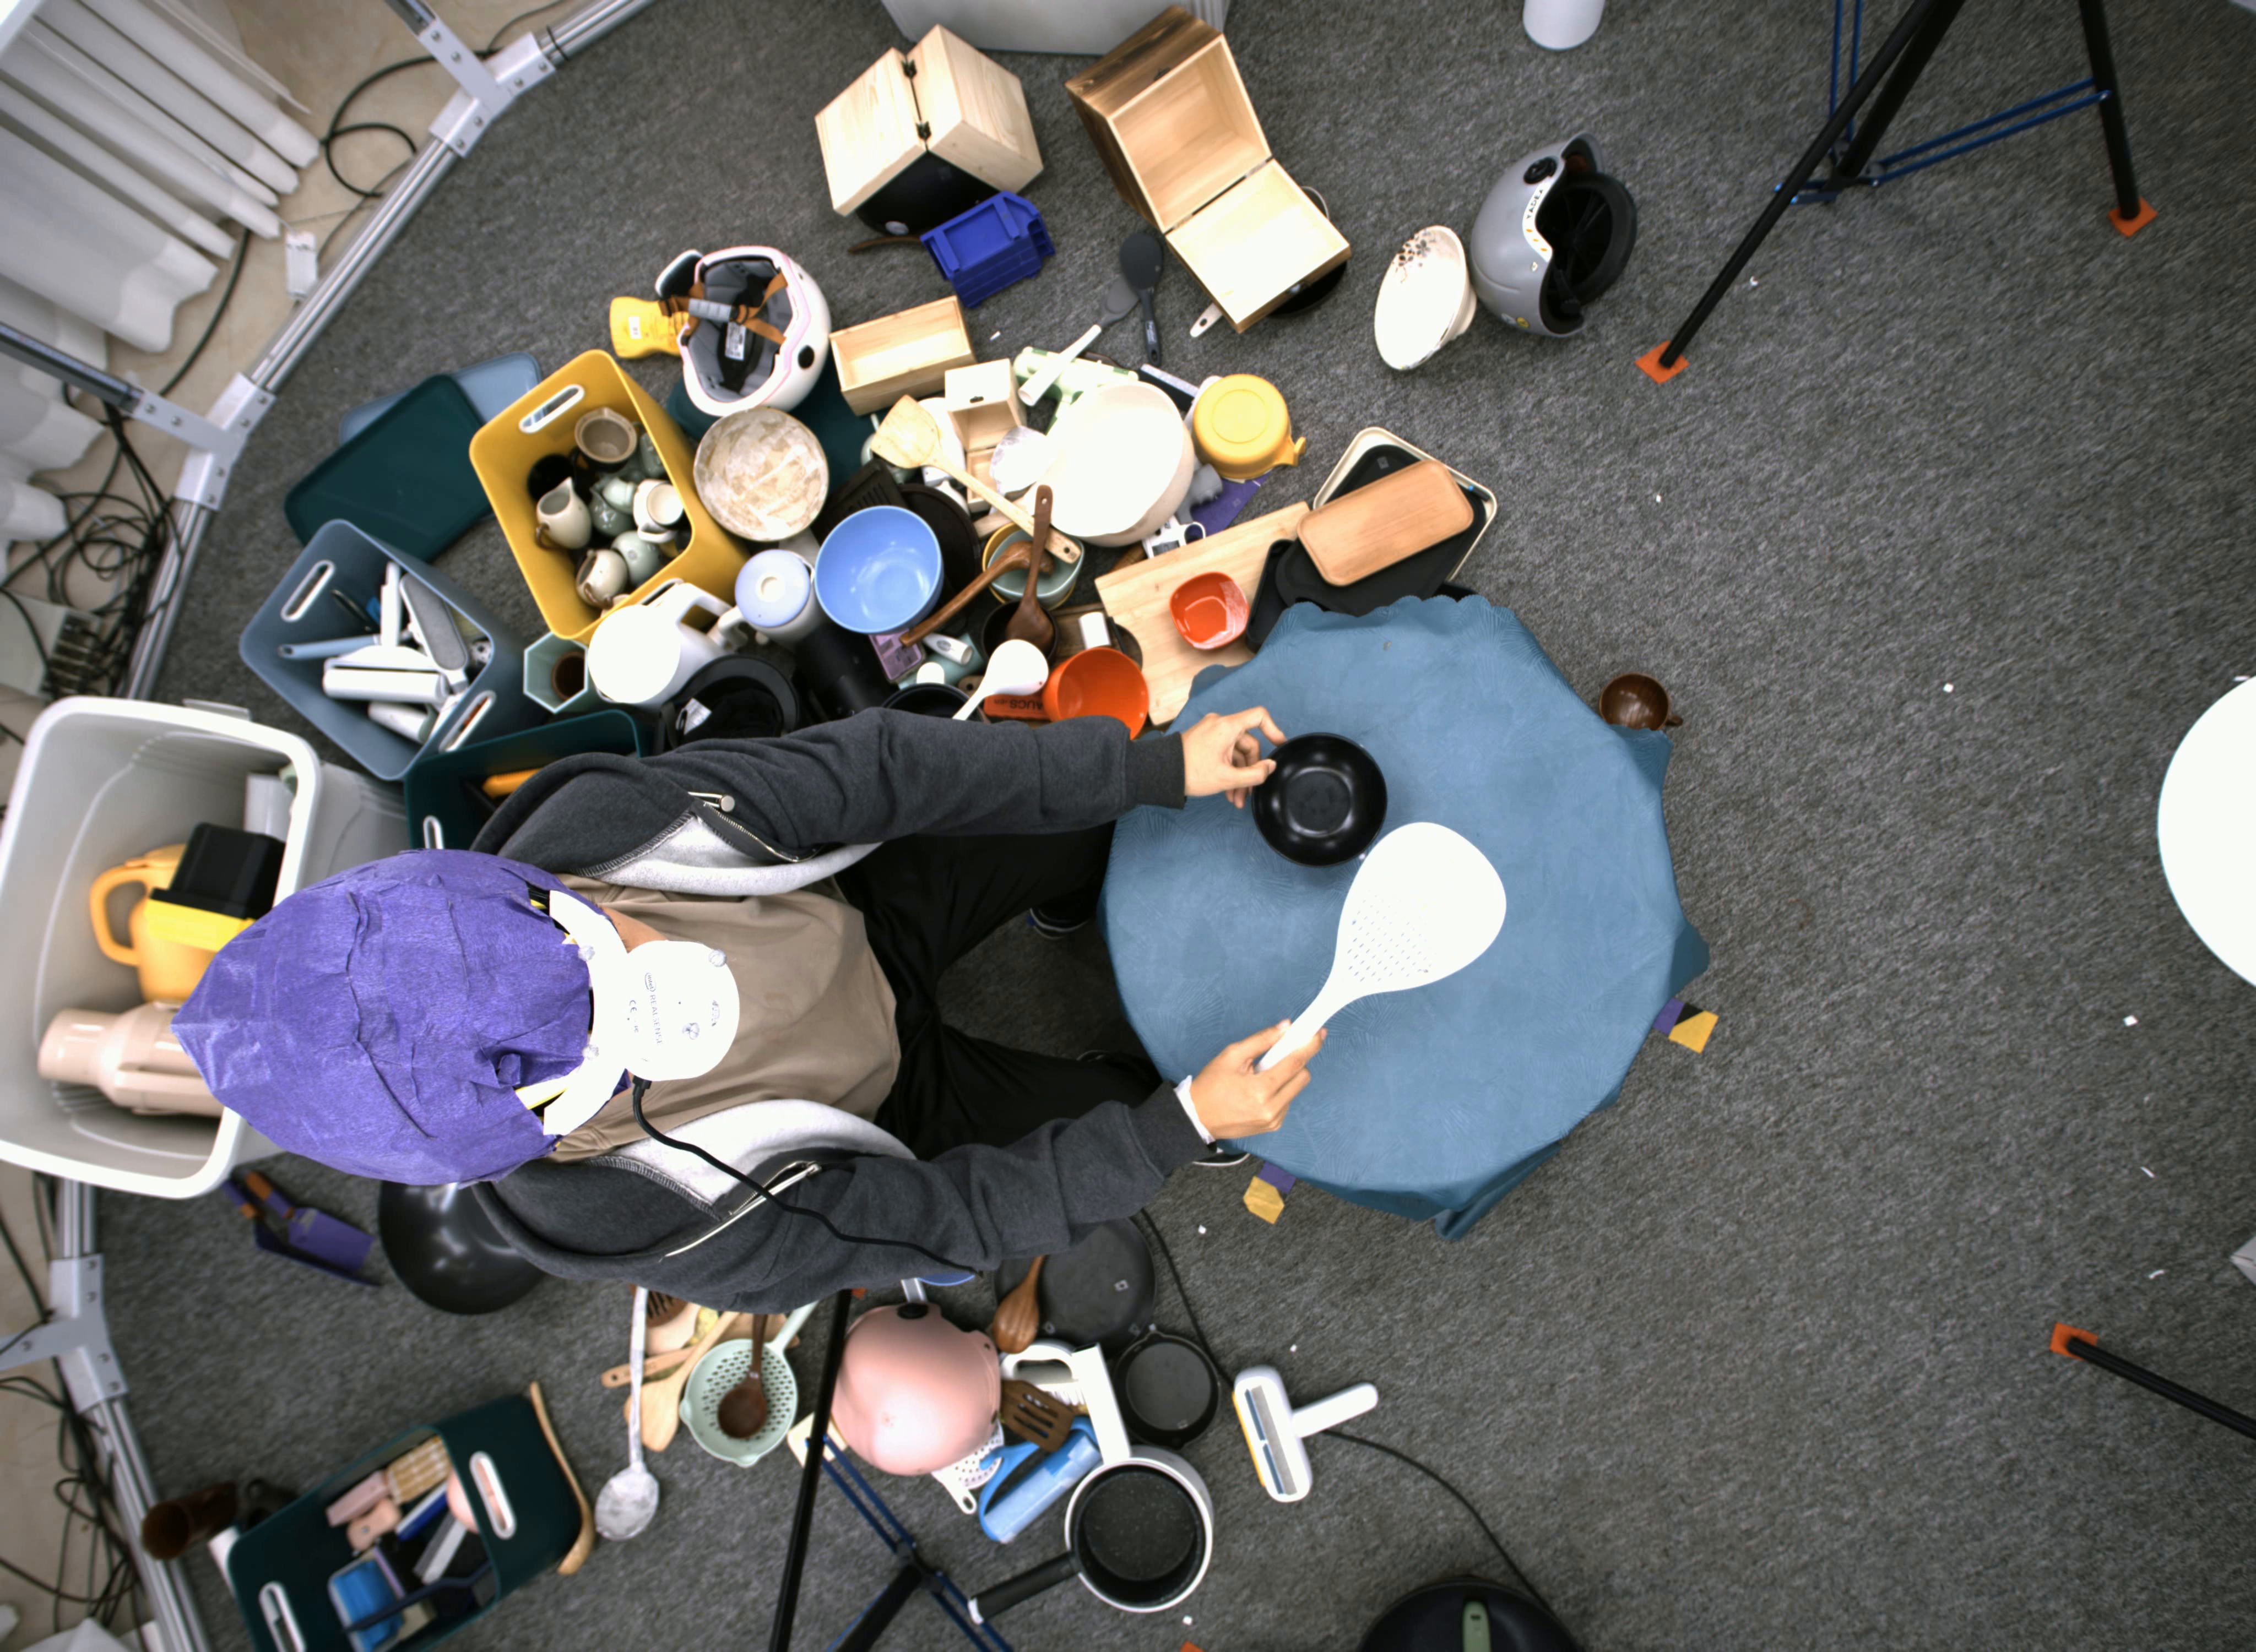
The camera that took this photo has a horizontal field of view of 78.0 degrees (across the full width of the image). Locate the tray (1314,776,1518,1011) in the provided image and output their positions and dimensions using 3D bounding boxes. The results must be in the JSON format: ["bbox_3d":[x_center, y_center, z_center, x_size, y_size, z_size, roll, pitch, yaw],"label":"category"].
[{"bbox_3d":[0.414,0.094,1.987,0.191,0.027,0.300,27,91,11],"label":"tray"}]

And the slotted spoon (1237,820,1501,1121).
[{"bbox_3d":[0.207,0.146,1.307,0.136,0.050,0.351,42,102,12],"label":"slotted spoon"}]
